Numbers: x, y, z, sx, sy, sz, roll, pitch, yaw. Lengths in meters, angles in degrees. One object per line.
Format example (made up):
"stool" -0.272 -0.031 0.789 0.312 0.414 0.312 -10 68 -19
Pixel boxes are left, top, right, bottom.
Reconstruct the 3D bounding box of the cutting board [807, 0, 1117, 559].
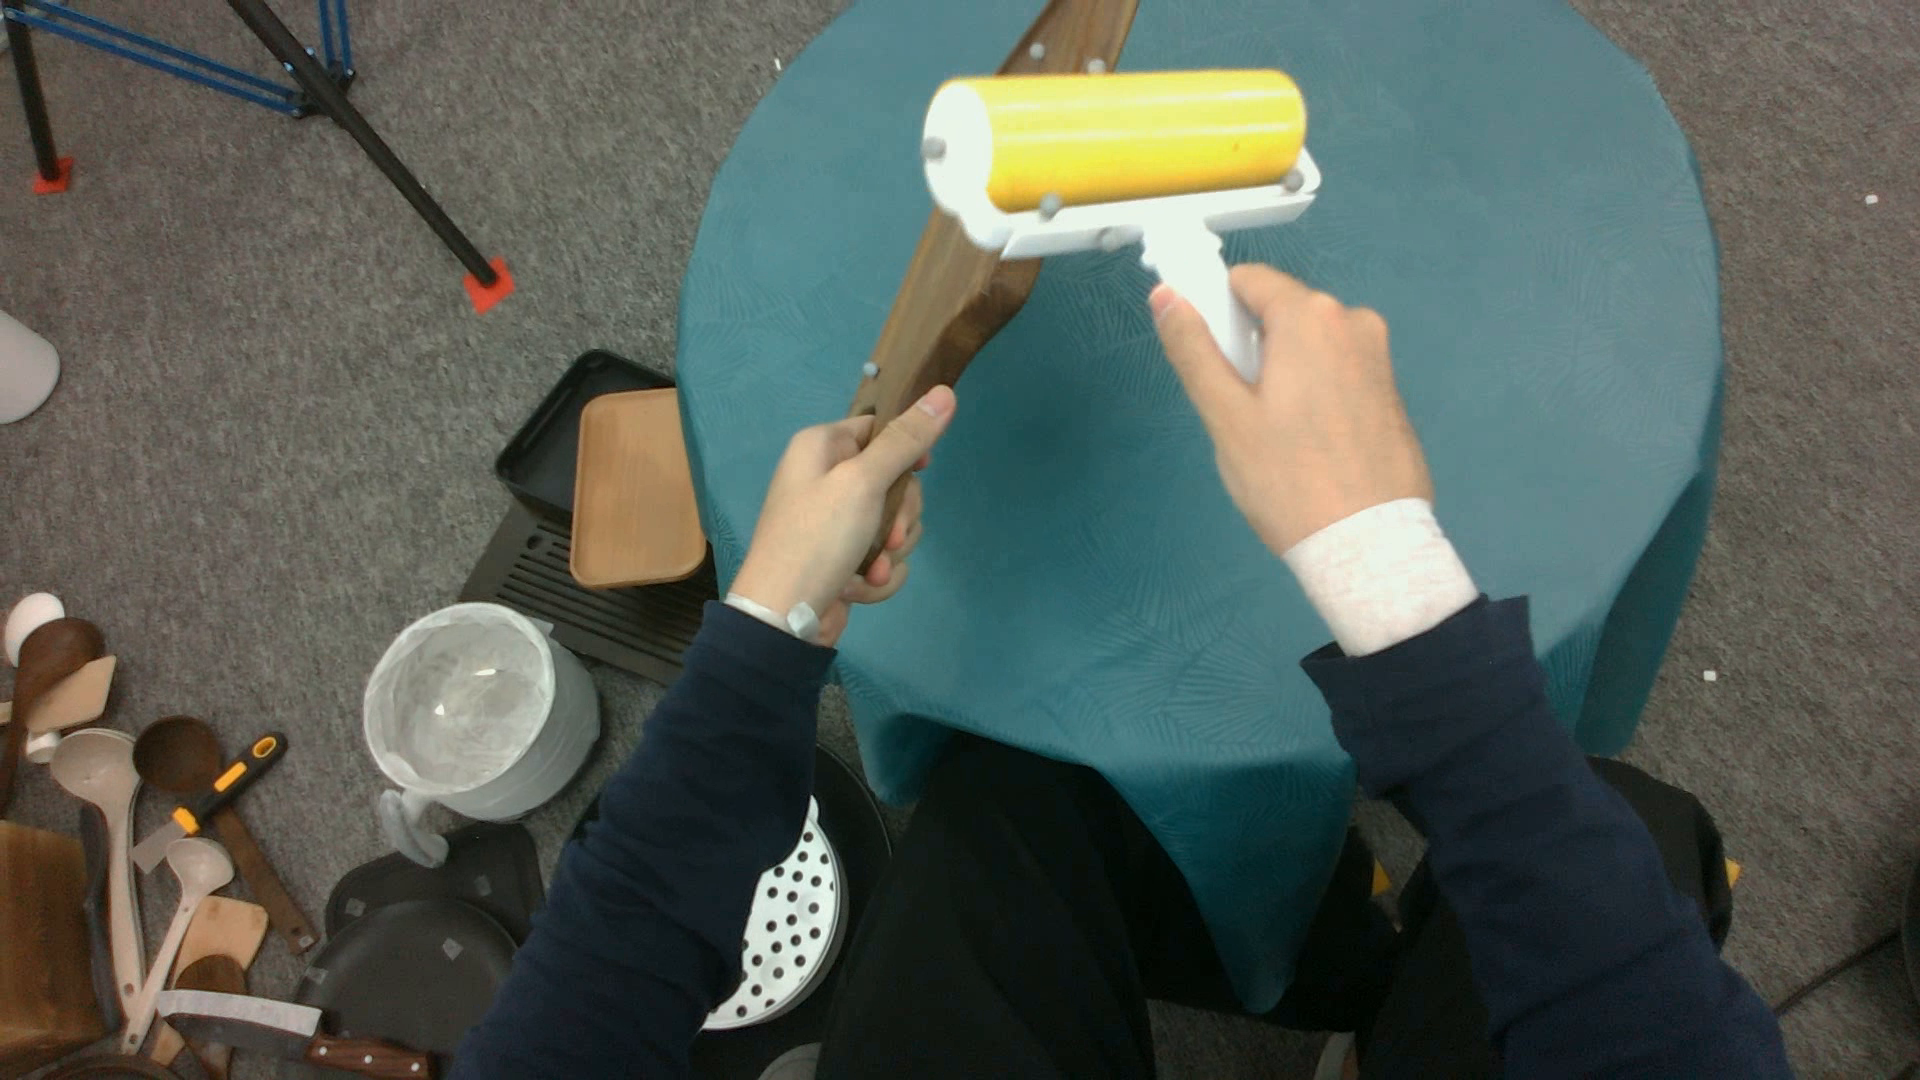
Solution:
"cutting board" -0.004 -0.147 0.671 0.023 0.200 0.353 27 65 -17

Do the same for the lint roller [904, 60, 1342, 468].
"lint roller" 0.092 -0.113 0.533 0.175 0.051 0.192 -16 58 -32
